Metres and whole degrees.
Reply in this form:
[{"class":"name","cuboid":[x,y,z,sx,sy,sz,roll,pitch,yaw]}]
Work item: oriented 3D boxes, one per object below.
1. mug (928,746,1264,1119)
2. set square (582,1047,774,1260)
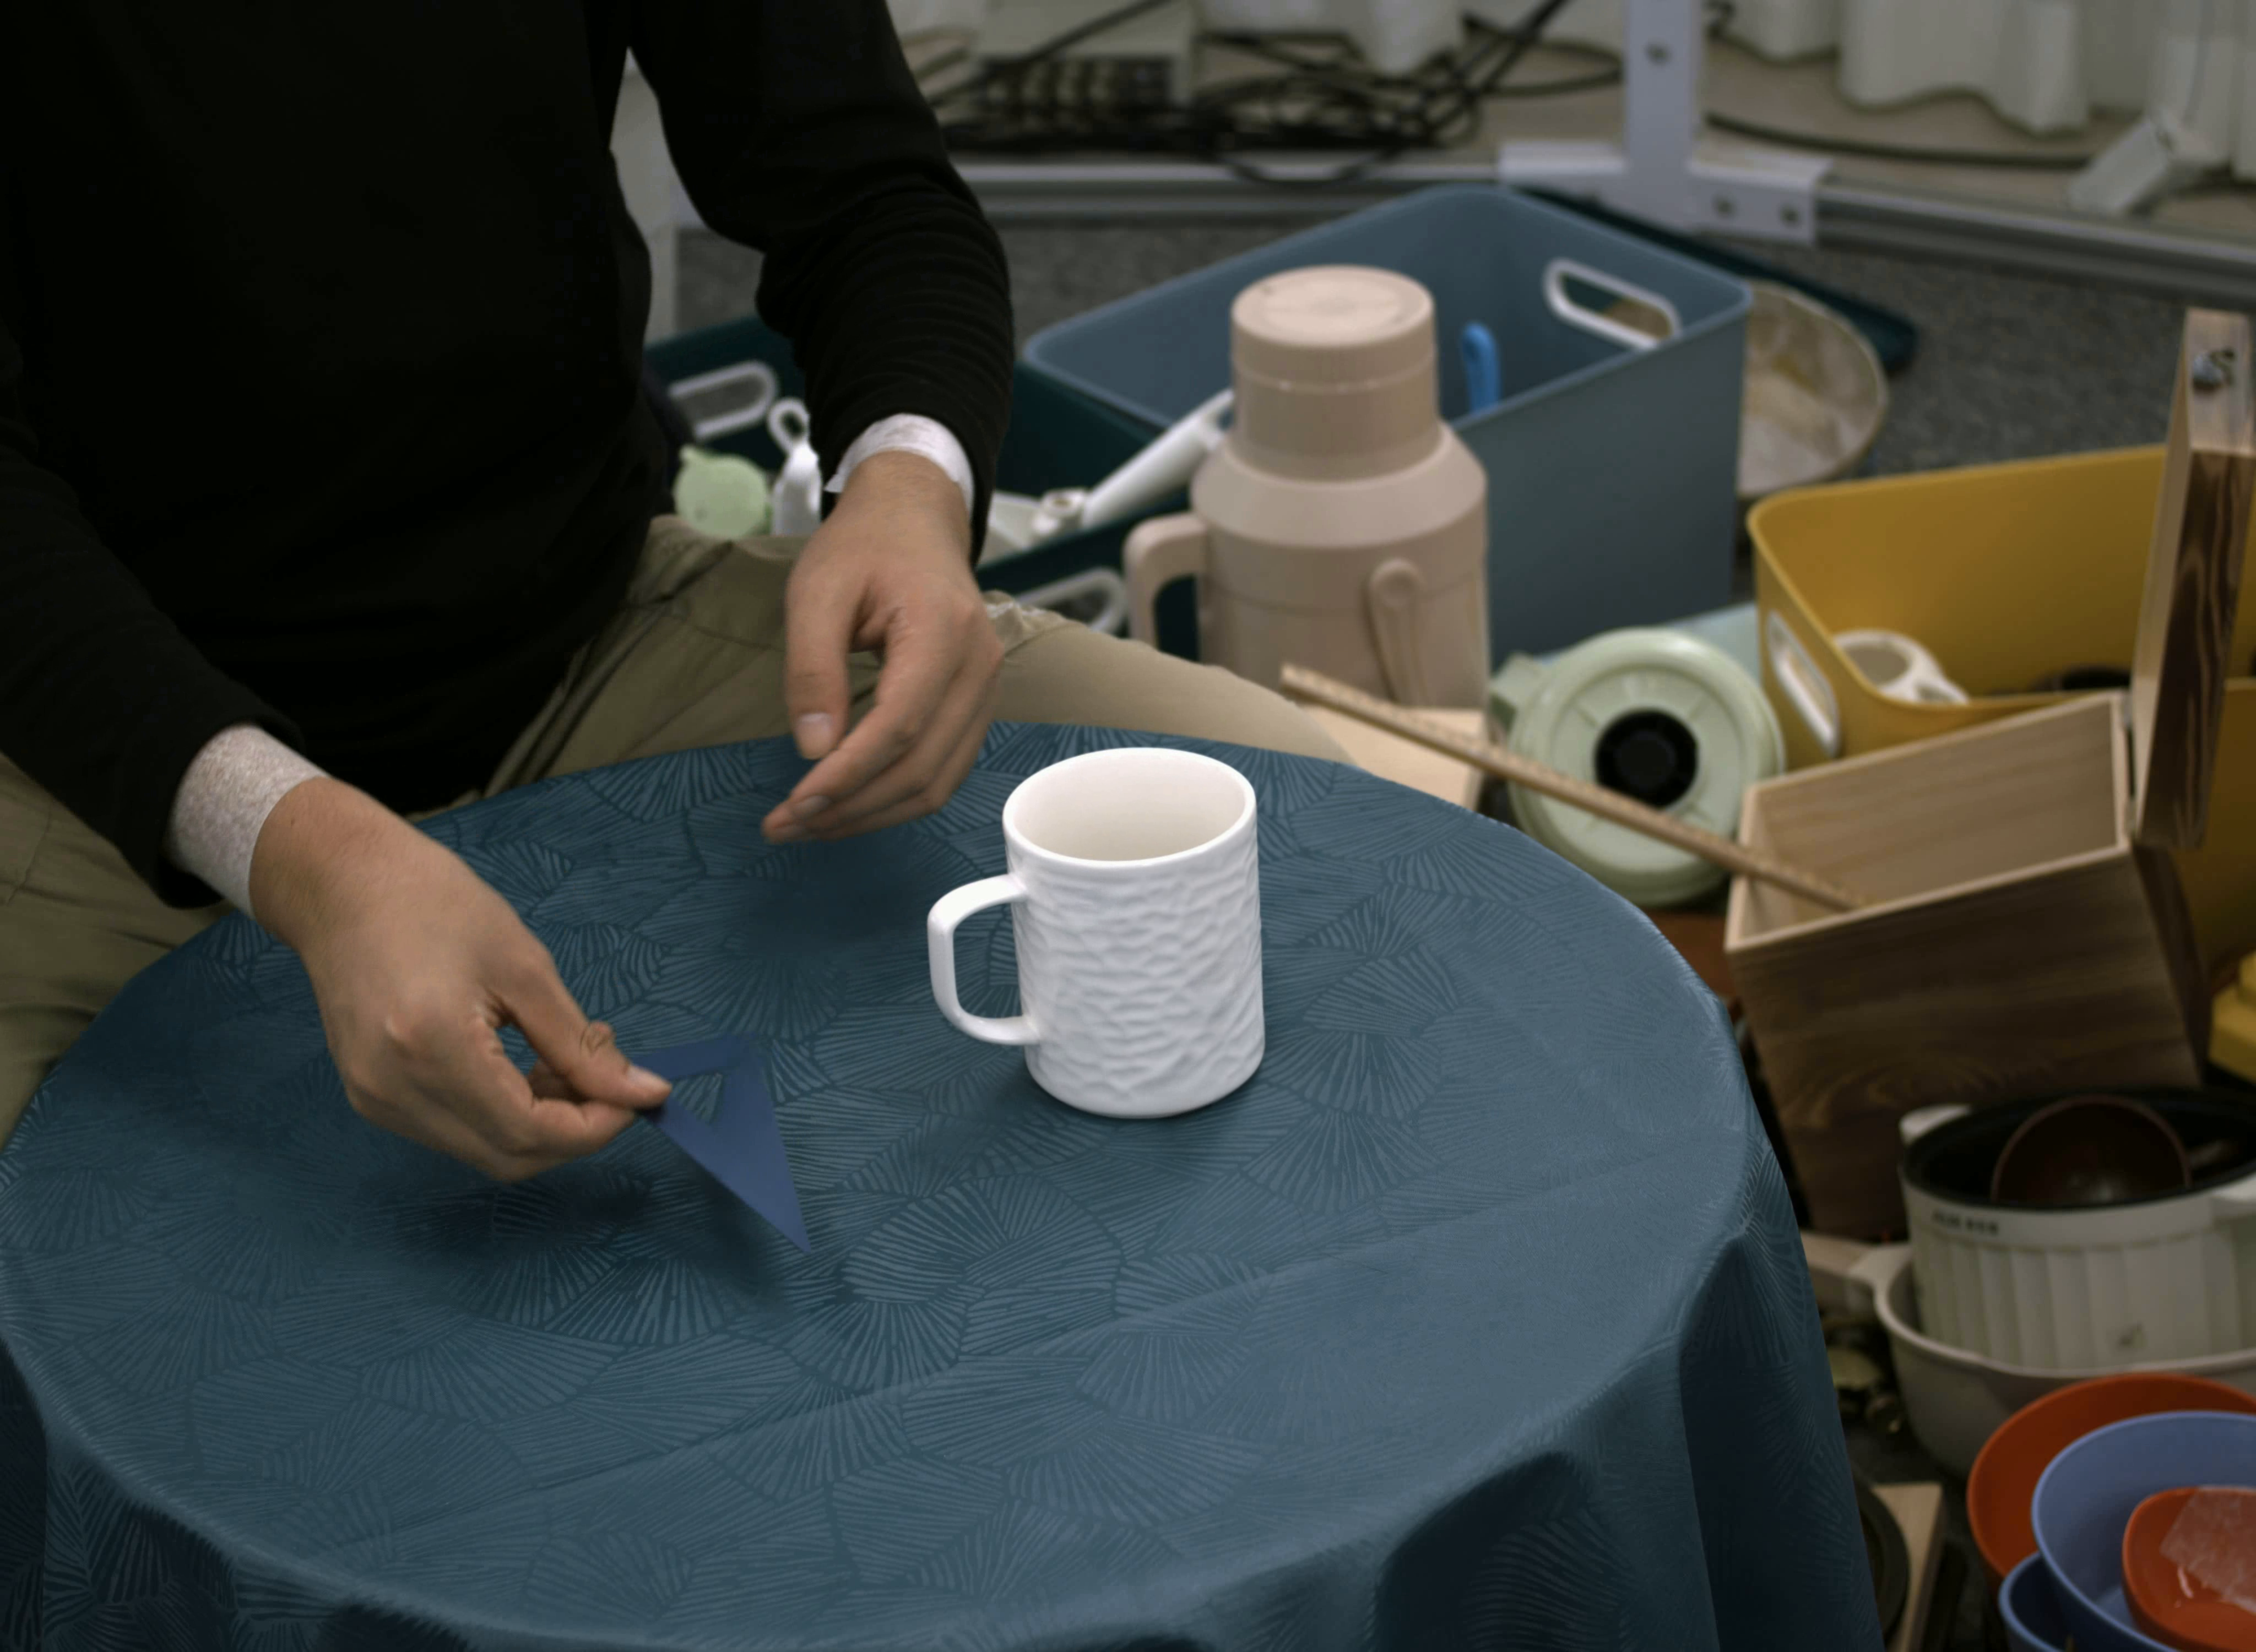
[{"class":"mug","cuboid":[-0.011,0.041,1.909,0.119,0.101,0.085,-14,29,-21]},{"class":"set square","cuboid":[-0.147,0.101,1.827,0.061,0.006,0.134,10,26,-12]}]
